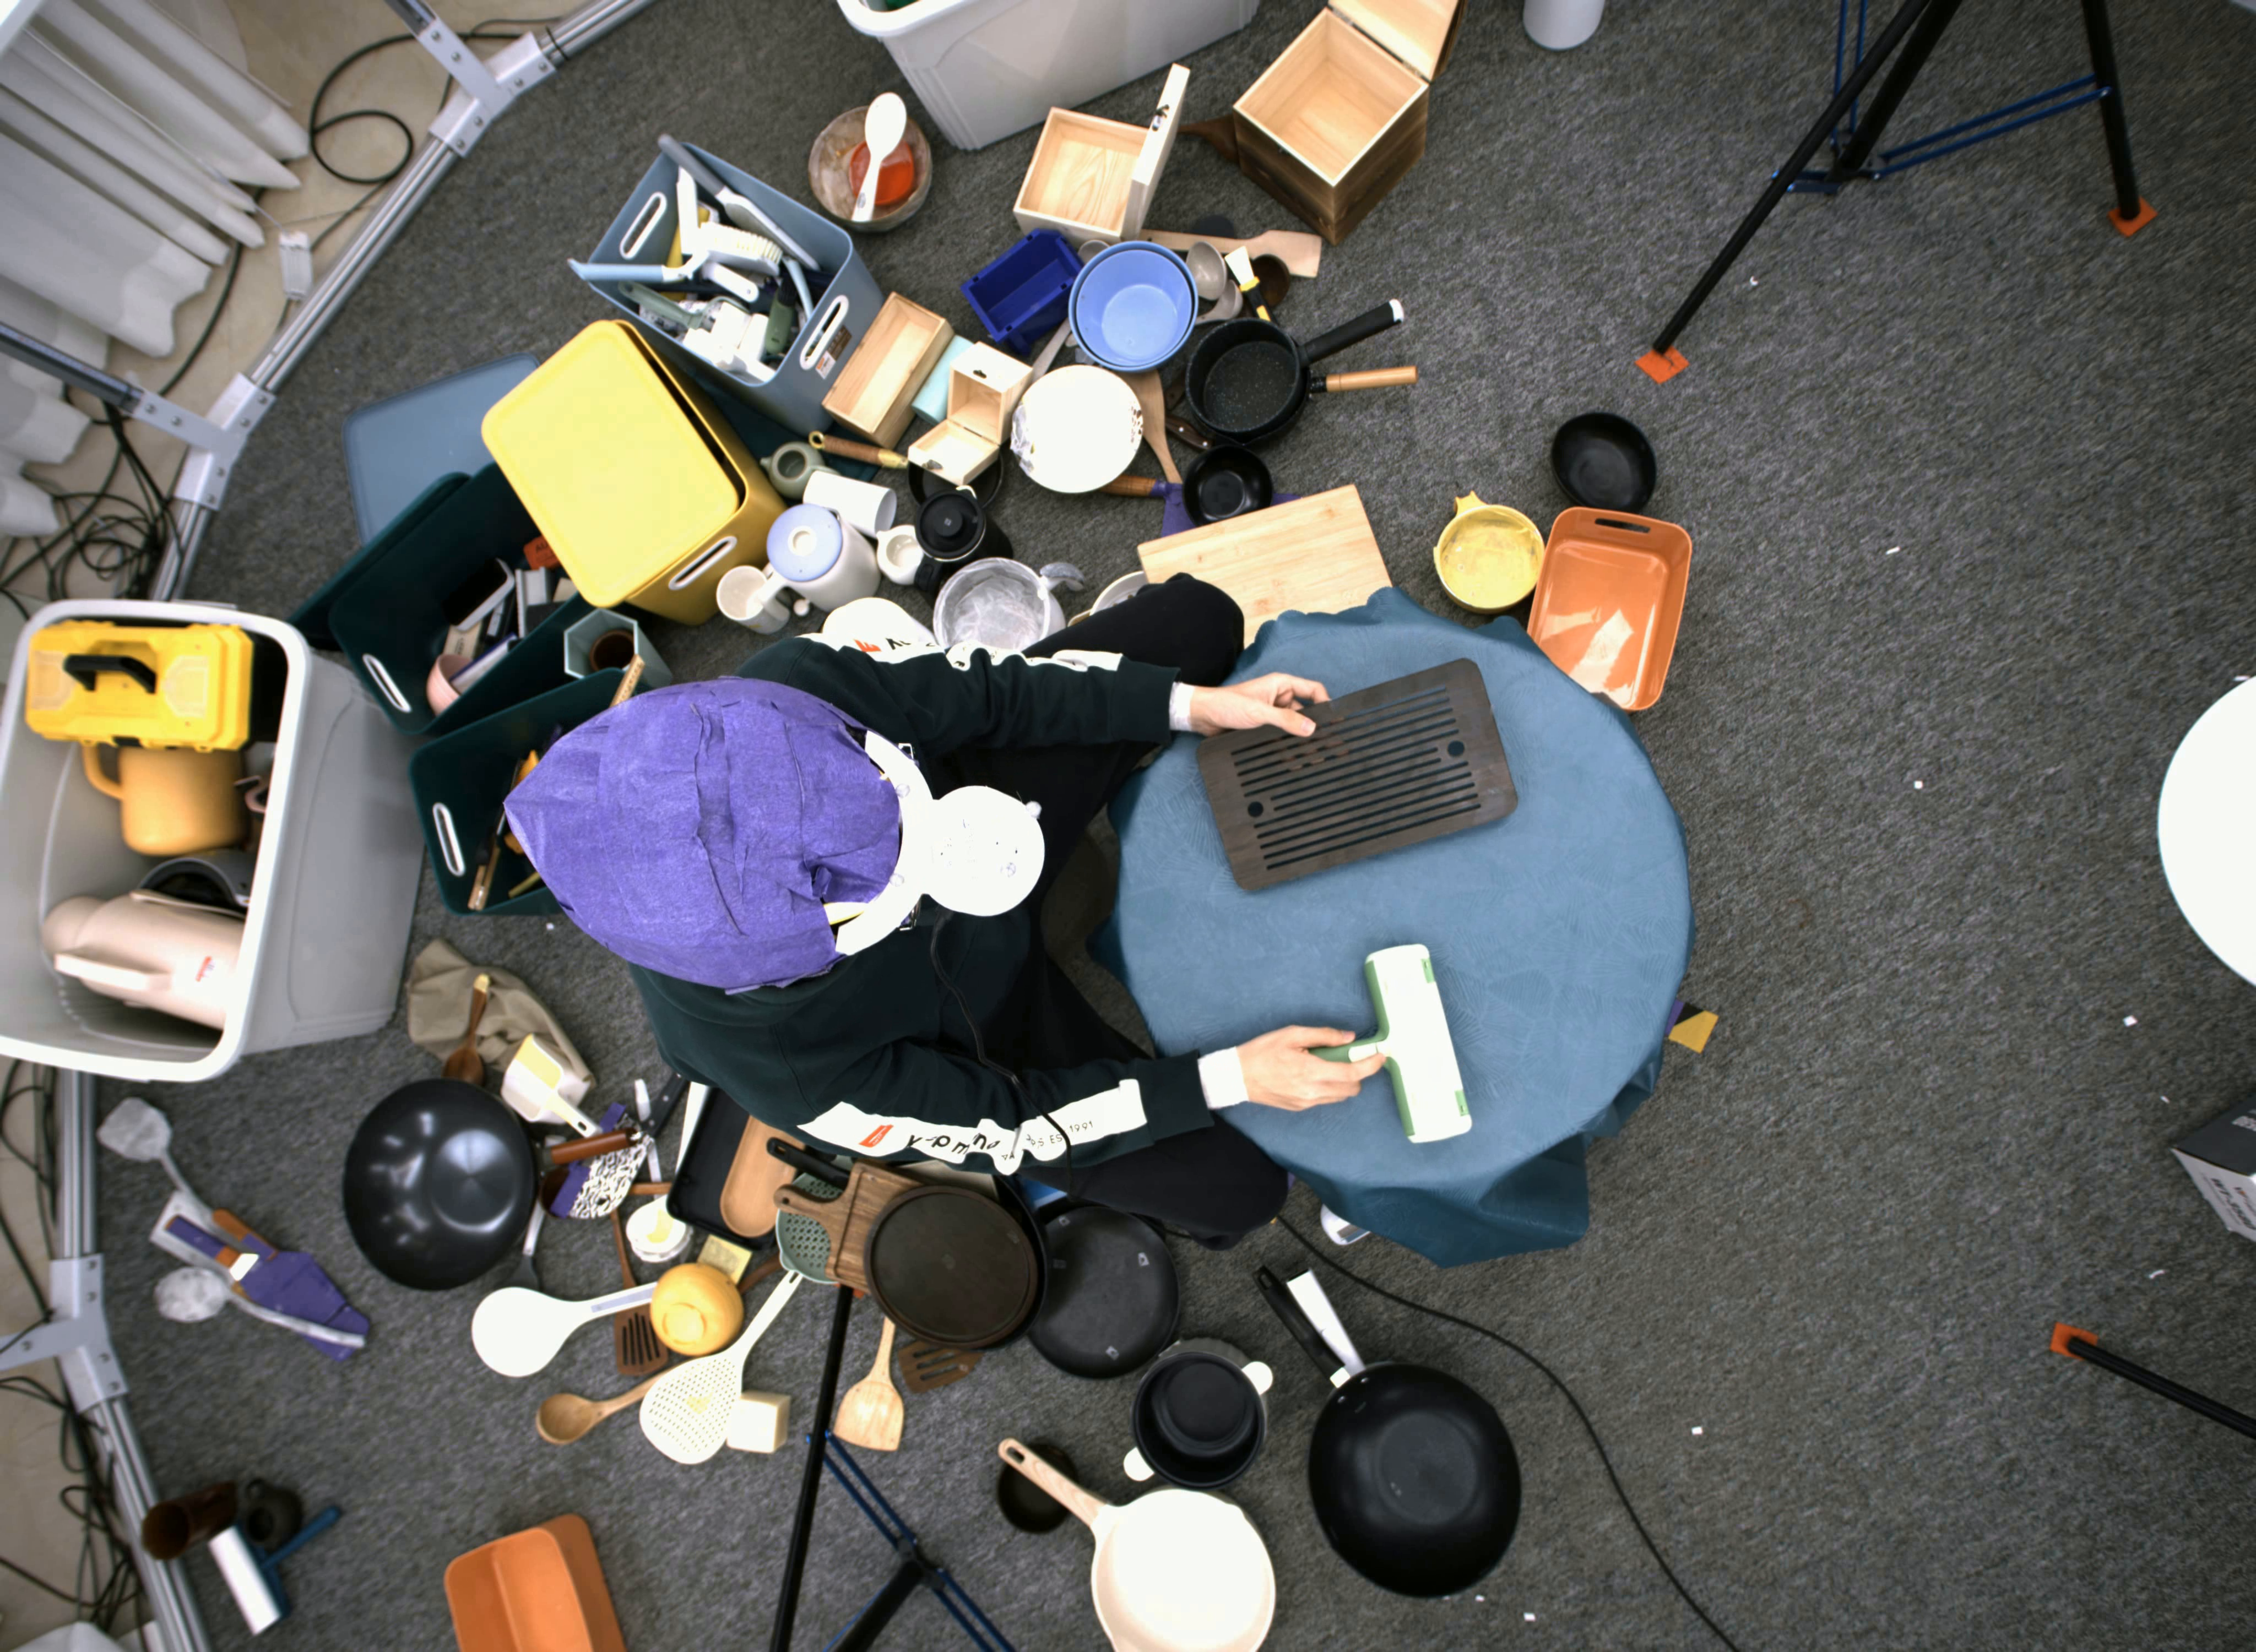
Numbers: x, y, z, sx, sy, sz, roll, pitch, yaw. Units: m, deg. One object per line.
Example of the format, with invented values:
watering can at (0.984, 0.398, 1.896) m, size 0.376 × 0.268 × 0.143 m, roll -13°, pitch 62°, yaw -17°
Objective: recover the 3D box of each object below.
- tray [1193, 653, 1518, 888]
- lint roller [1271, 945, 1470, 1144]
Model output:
tray at (0.234, -0.056, 1.429) m, size 0.308 × 0.018 × 0.171 m, roll -17°, pitch 99°, yaw 13°
lint roller at (0.235, 0.230, 1.400) m, size 0.184 × 0.083 × 0.196 m, roll -12°, pitch 78°, yaw 4°
